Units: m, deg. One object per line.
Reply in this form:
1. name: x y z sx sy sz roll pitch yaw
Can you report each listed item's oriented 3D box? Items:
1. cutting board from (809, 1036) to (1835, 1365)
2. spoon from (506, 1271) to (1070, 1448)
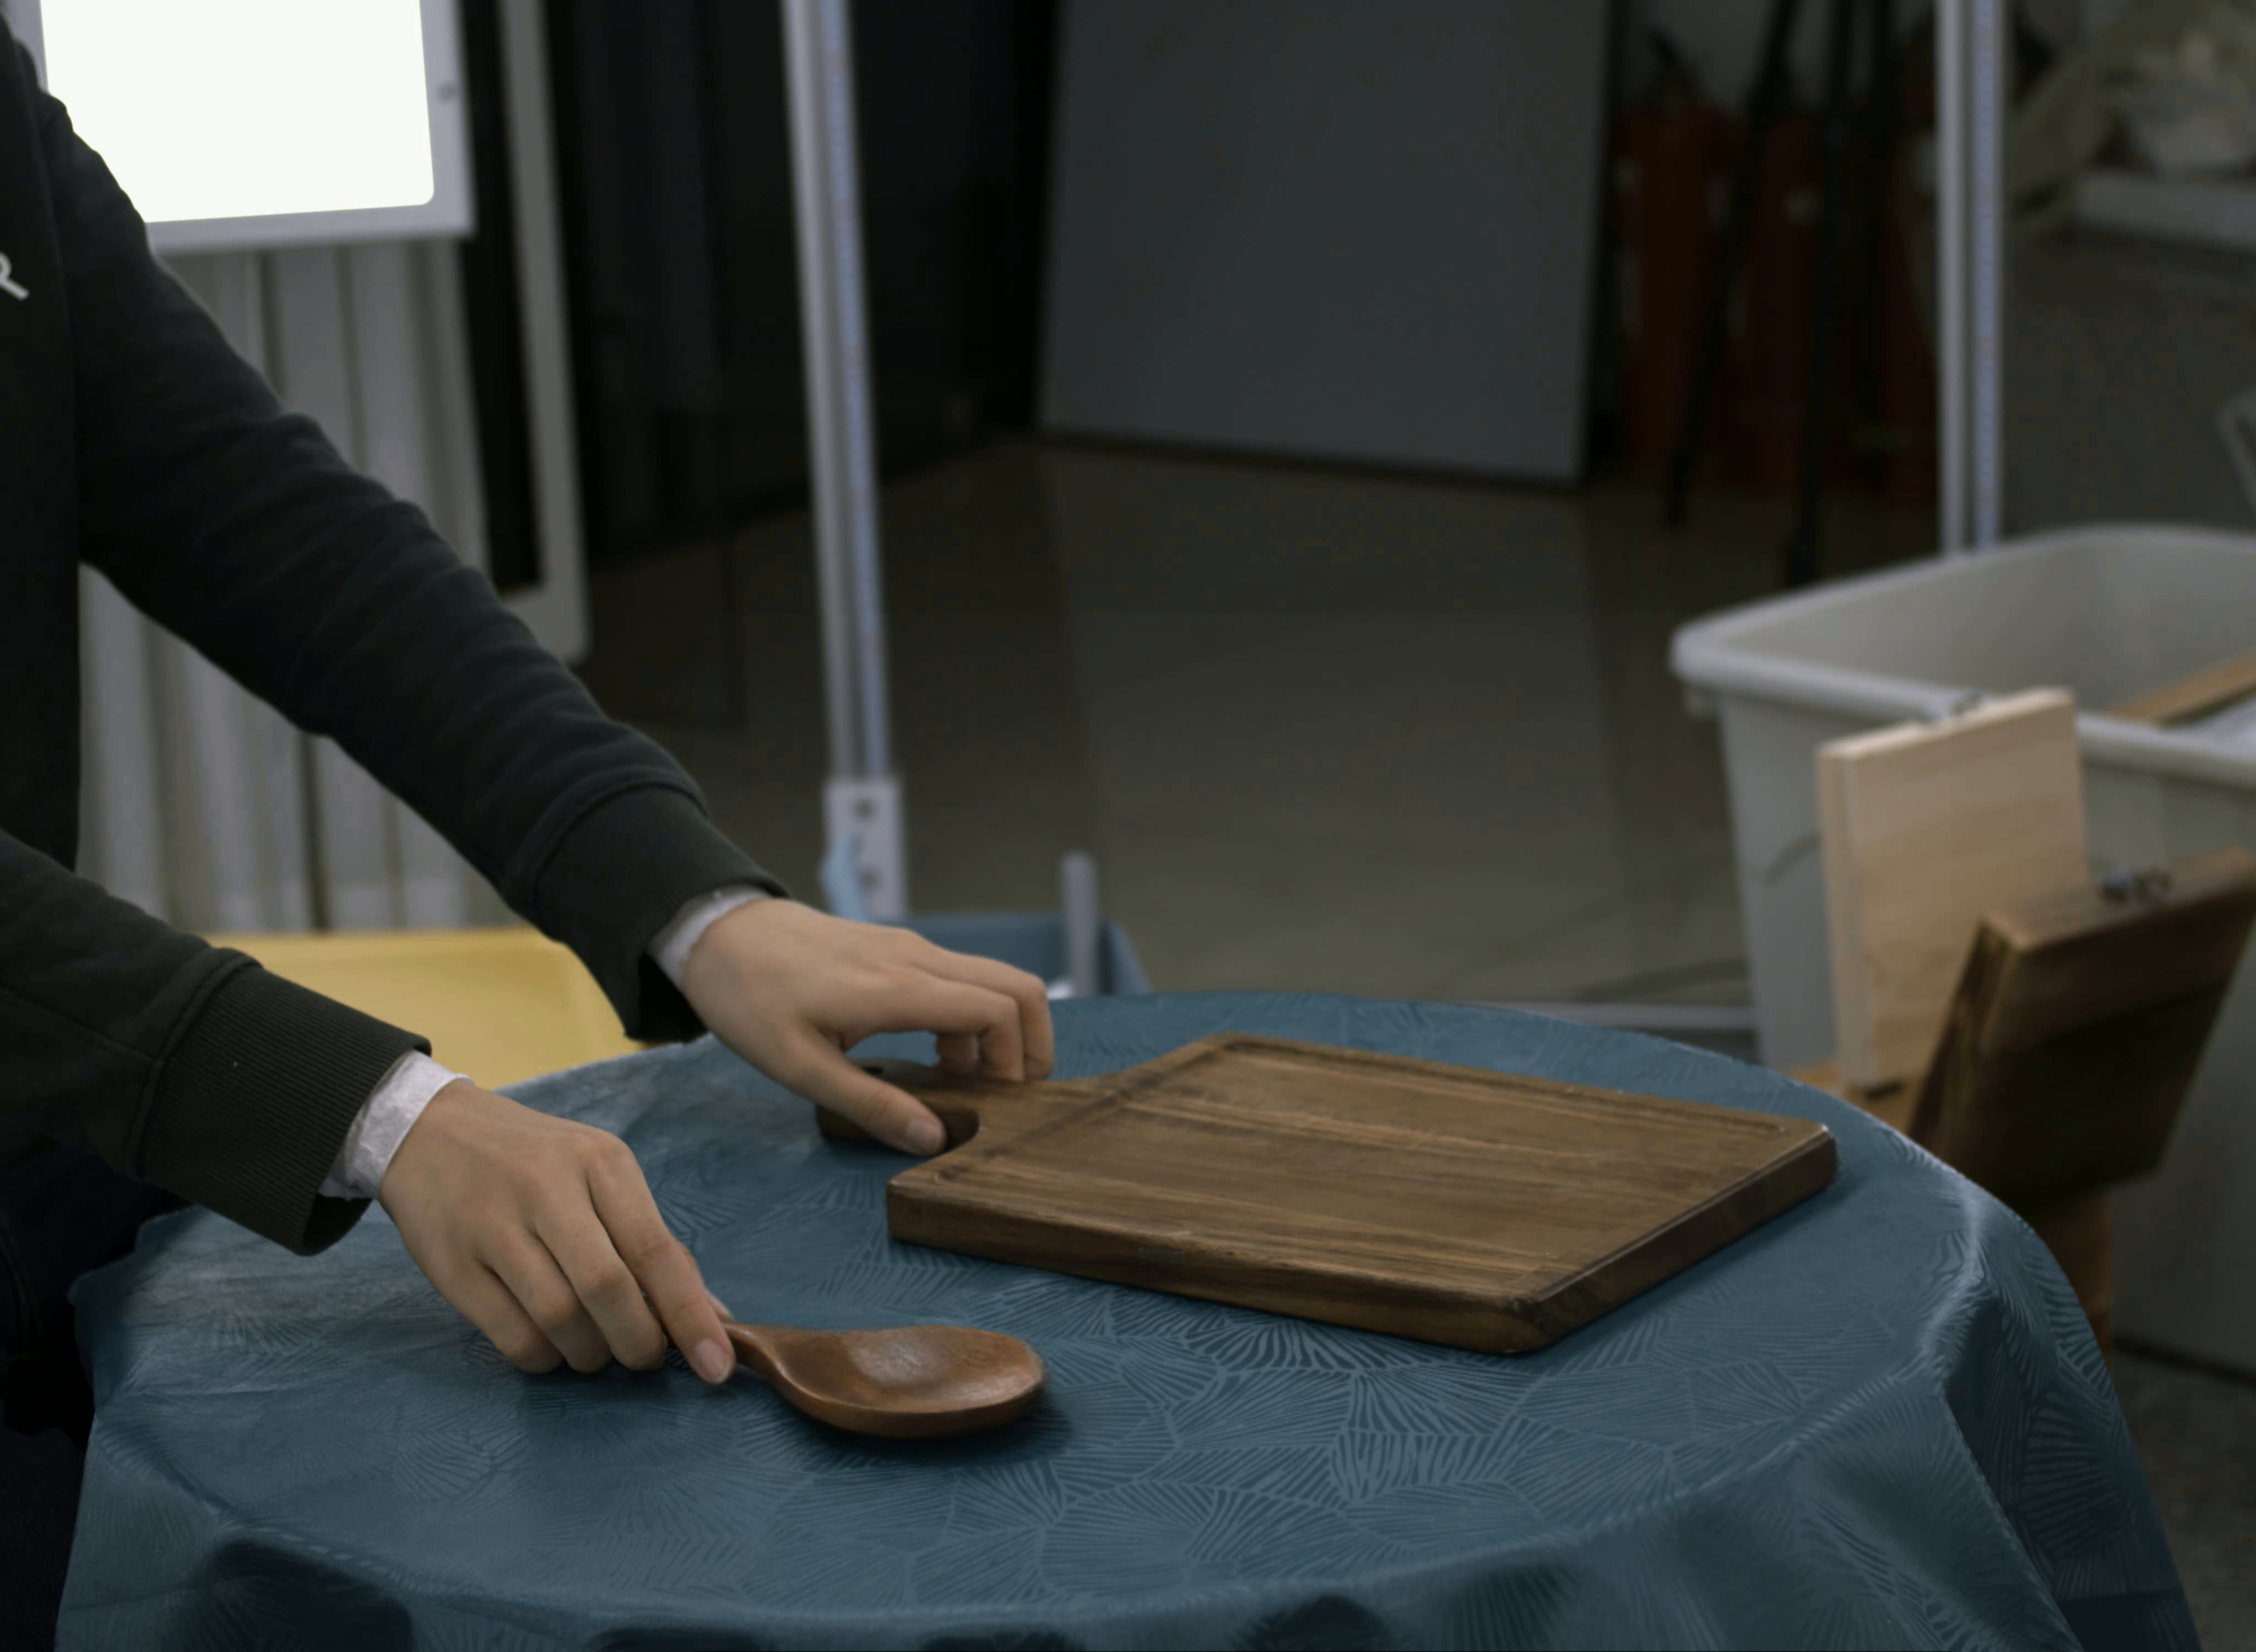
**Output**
1. cutting board: 0.036 0.112 1.764 0.354 0.023 0.197 6 18 37
2. spoon: -0.107 0.158 1.616 0.217 0.017 0.074 8 20 40
